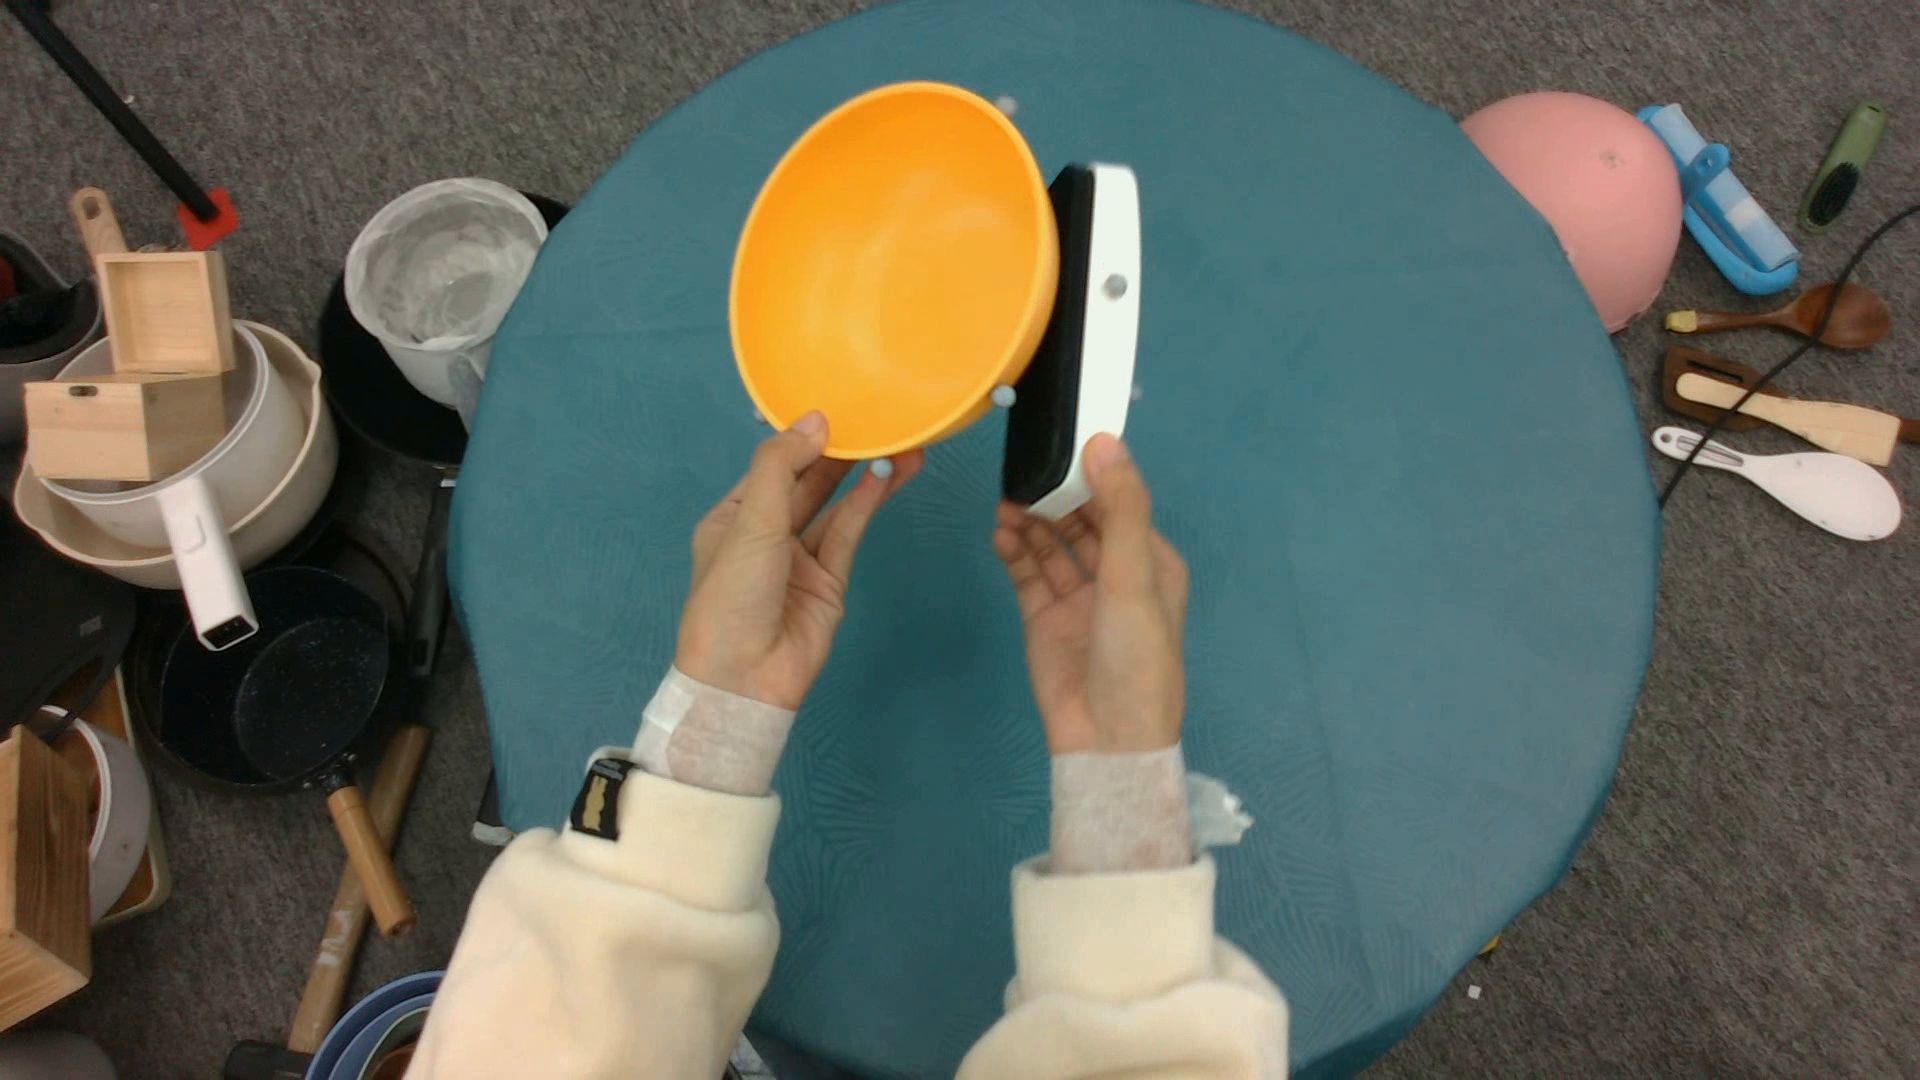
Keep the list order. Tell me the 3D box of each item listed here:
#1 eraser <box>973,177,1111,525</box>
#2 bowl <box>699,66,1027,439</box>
[{"bbox_3d":[0.031,-0.074,0.533,0.034,0.063,0.131,8,75,-16],"label":"eraser"},{"bbox_3d":[-0.028,-0.105,0.542,0.145,0.060,0.145,-5,79,31],"label":"bowl"}]
